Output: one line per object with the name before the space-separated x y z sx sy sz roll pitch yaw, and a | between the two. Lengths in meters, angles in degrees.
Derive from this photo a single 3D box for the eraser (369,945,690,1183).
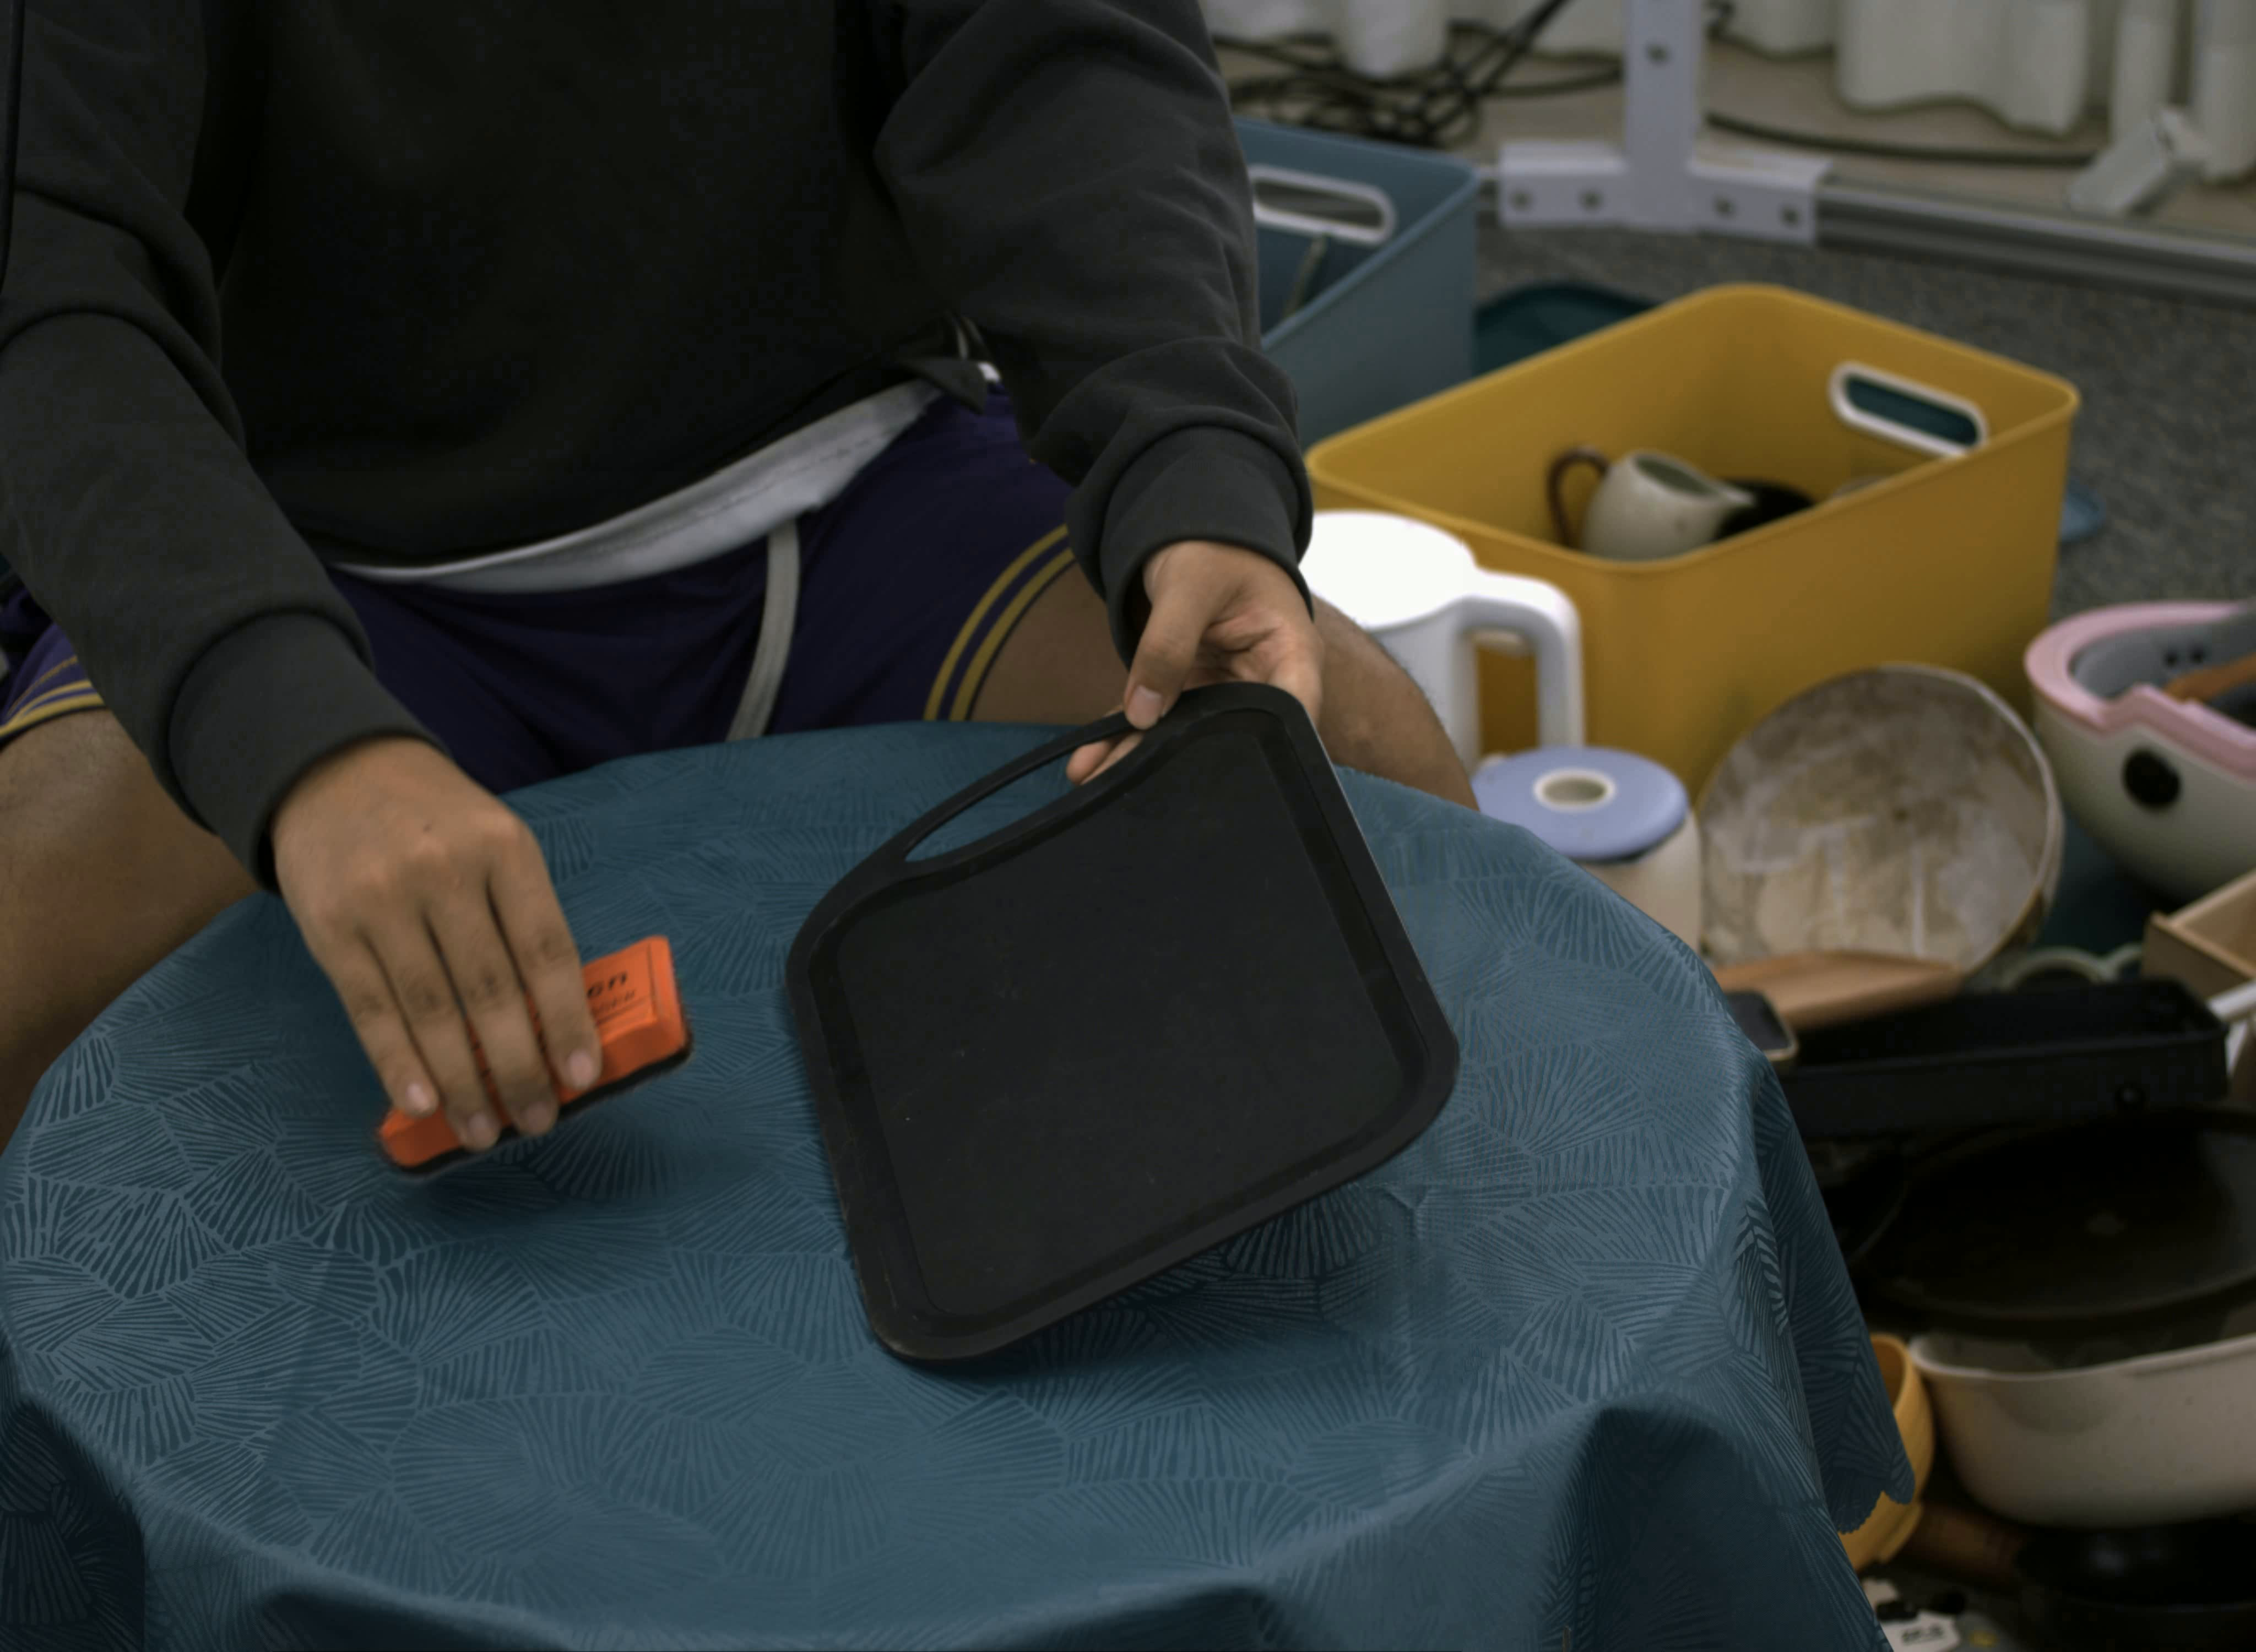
eraser | -0.199 0.079 1.868 0.107 0.022 0.060 -22 28 2

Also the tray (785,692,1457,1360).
tray | -0.011 0.056 1.893 0.210 0.010 0.330 -25 31 3
